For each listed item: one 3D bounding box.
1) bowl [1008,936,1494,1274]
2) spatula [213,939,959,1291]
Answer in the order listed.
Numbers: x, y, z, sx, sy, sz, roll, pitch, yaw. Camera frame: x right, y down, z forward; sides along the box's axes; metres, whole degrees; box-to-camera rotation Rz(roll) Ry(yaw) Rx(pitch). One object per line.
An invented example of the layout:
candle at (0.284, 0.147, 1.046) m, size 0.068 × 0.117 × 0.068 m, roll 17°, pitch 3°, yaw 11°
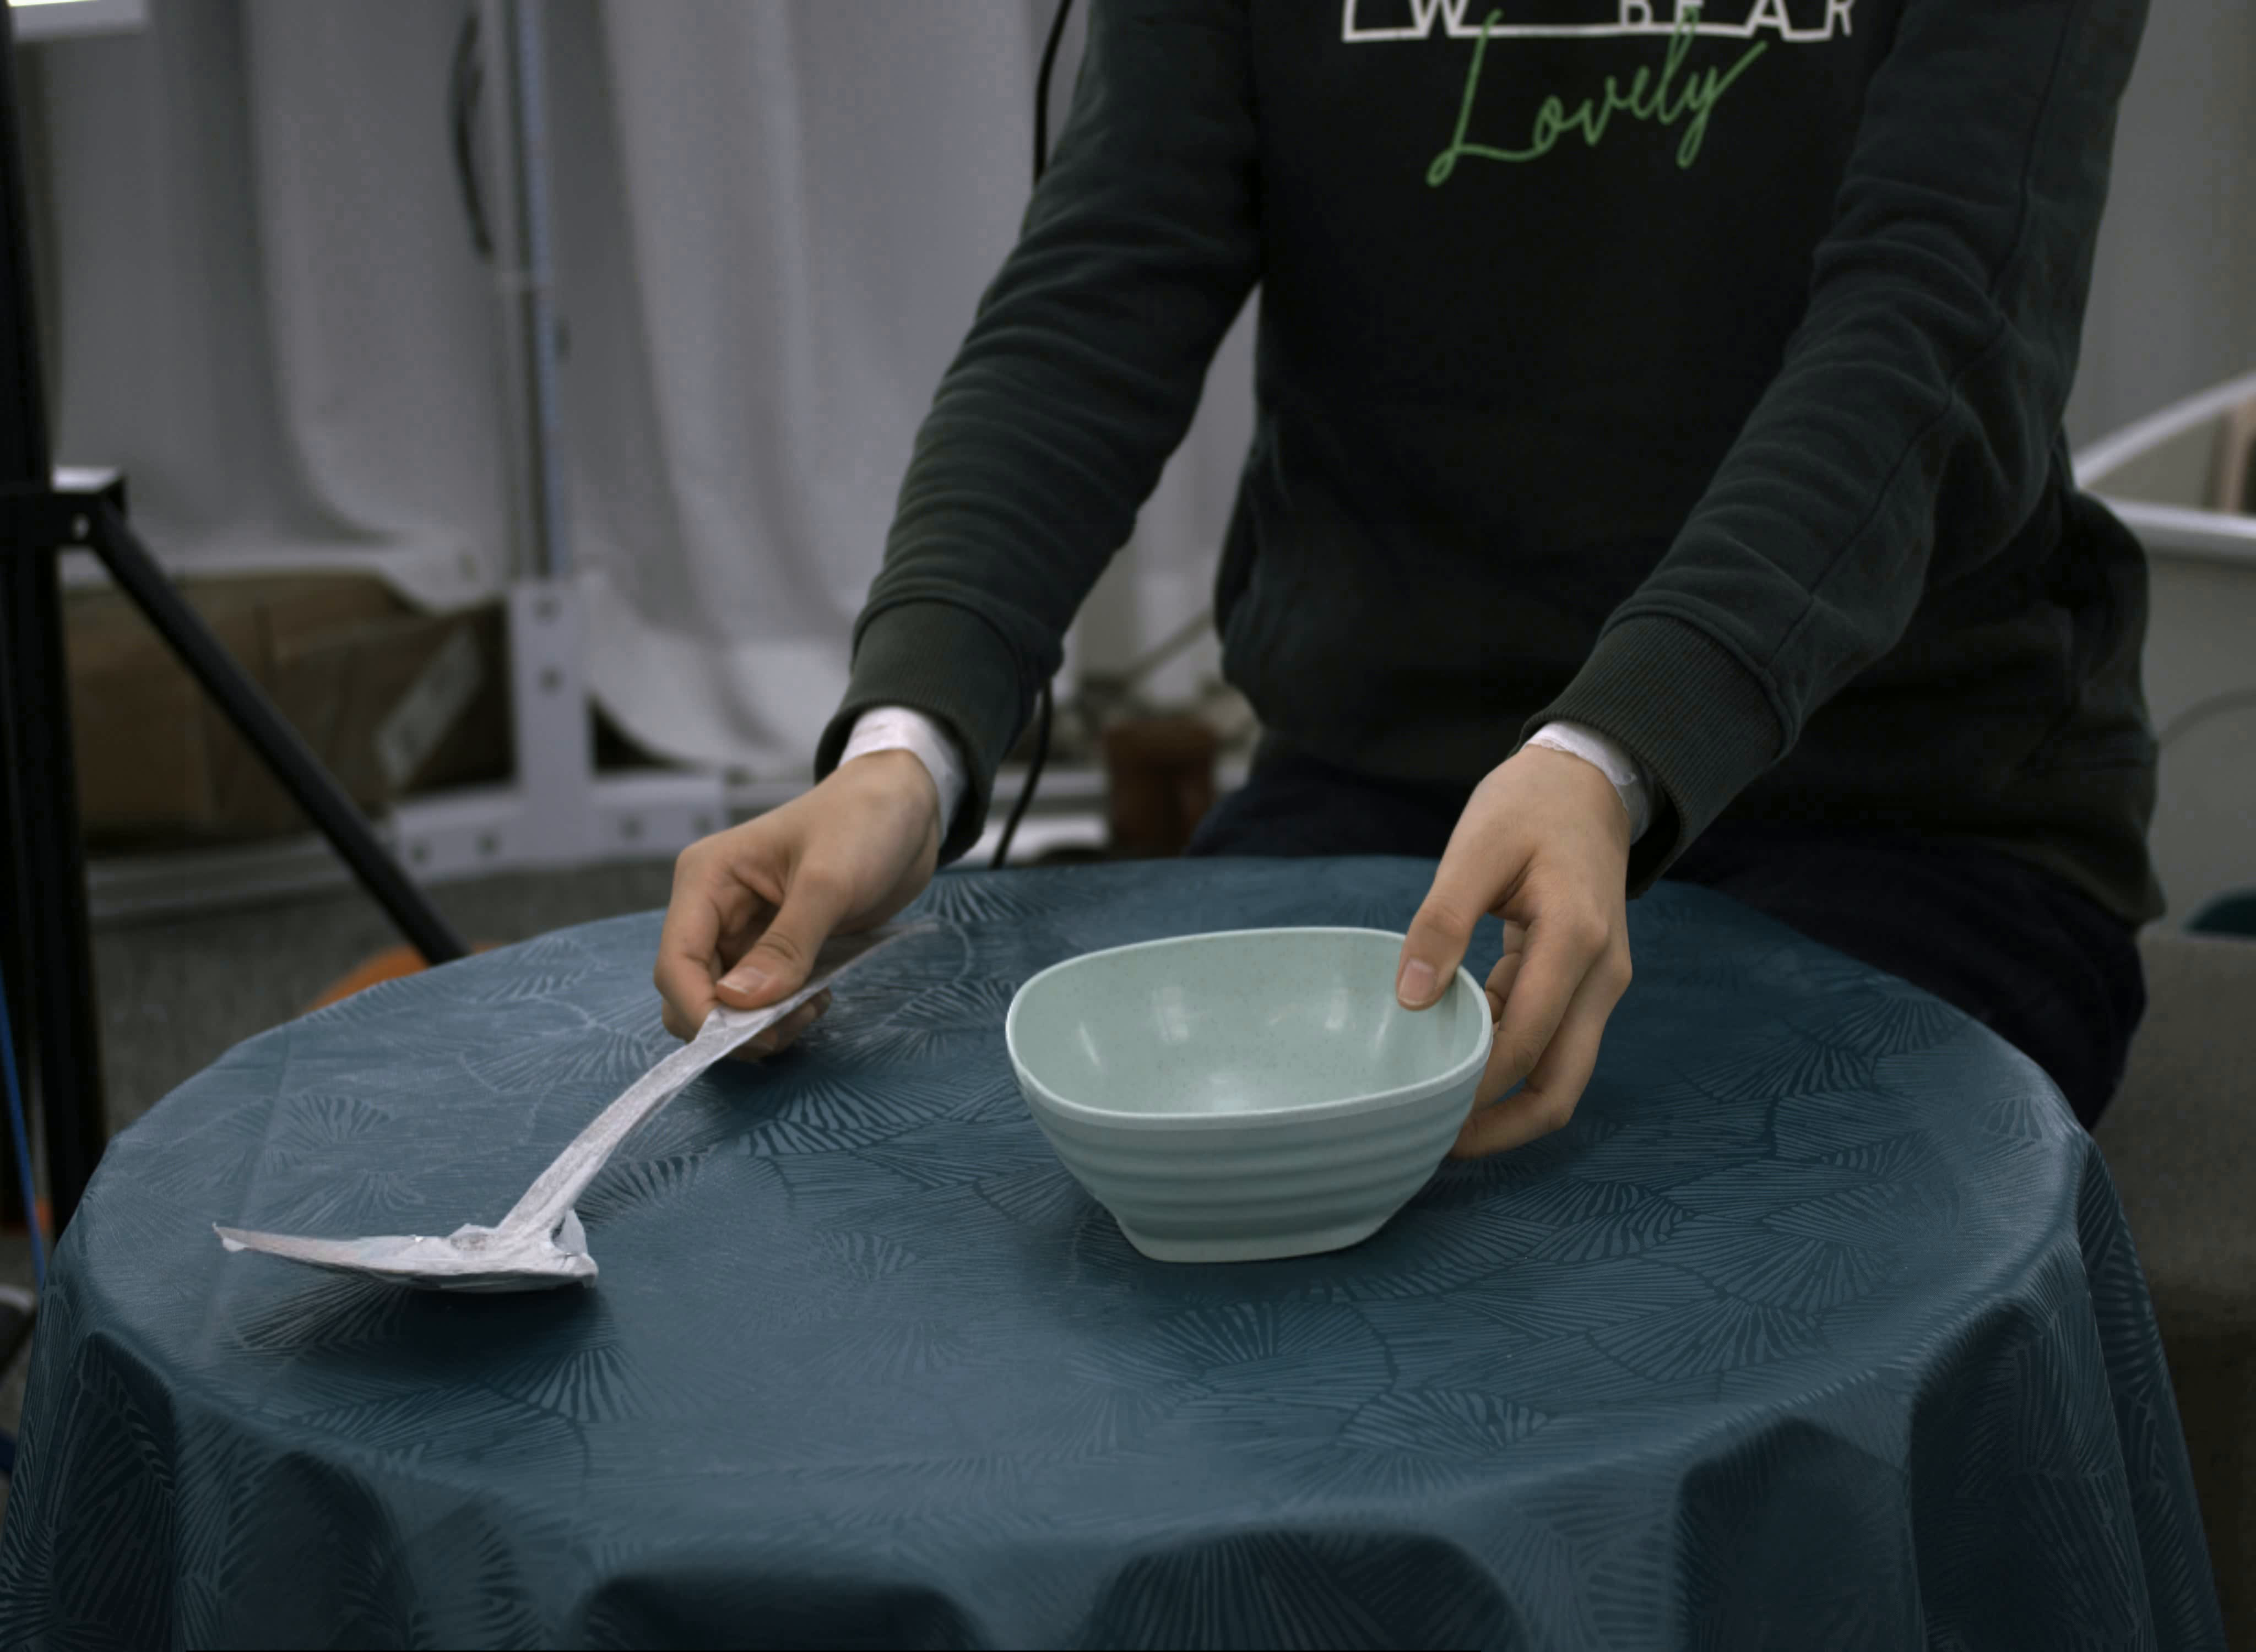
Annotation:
bowl at (0.036, 0.085, 1.529) m, size 0.151 × 0.058 × 0.152 m, roll -3°, pitch 20°, yaw 0°
spatula at (-0.140, 0.077, 1.596) m, size 0.100 × 0.044 × 0.360 m, roll 3°, pitch 20°, yaw 25°
